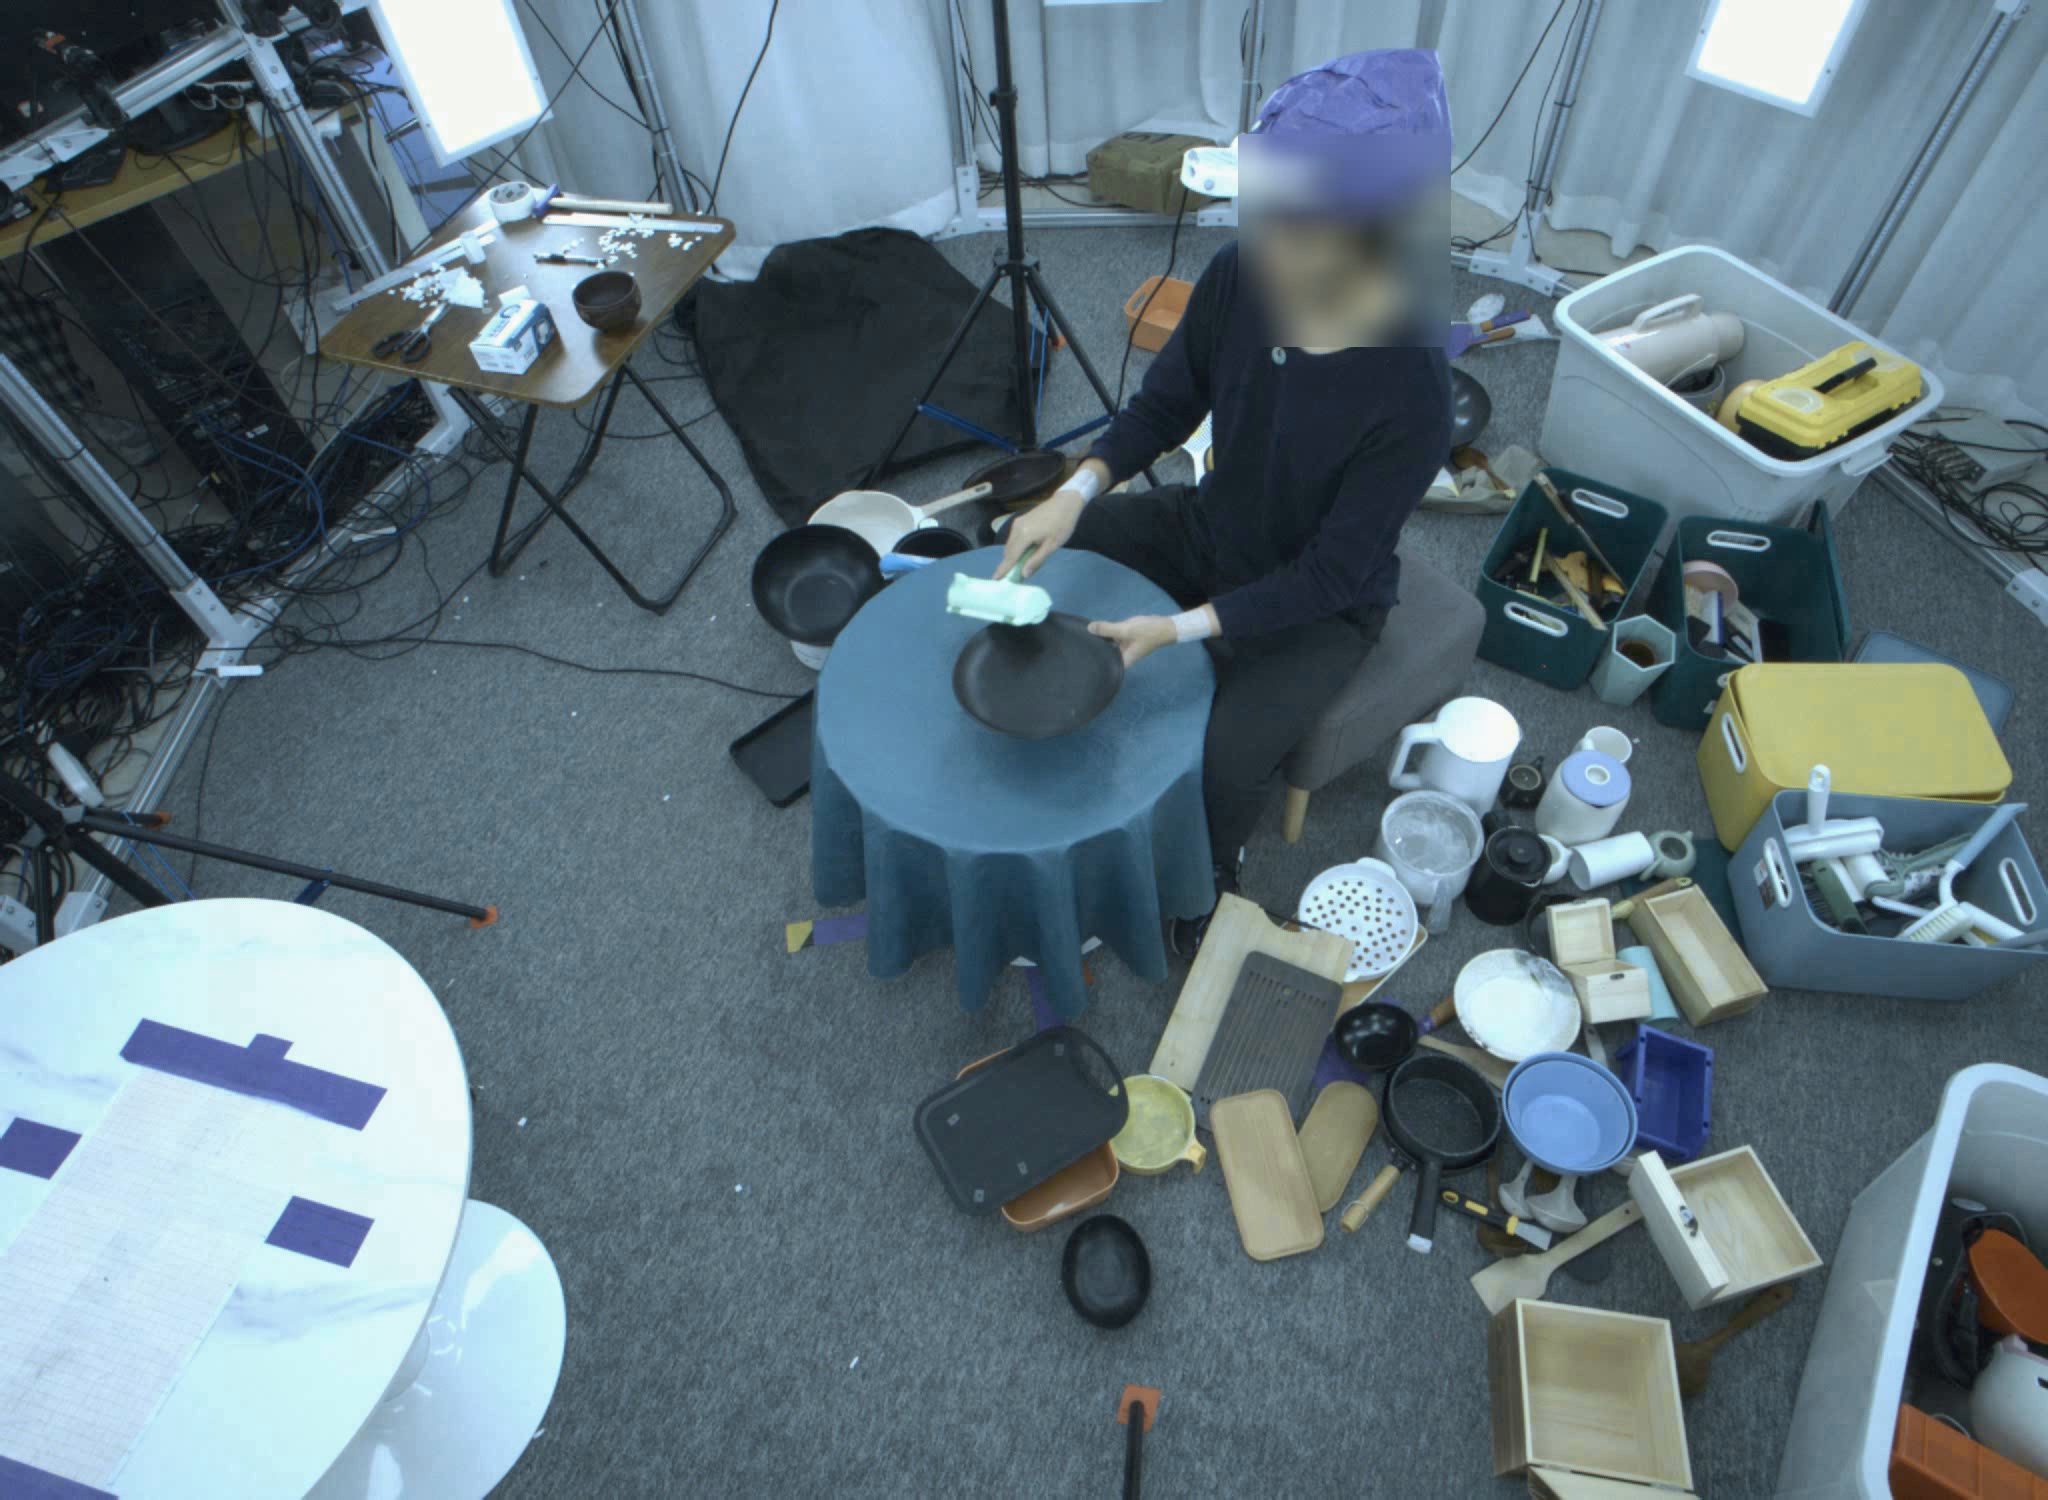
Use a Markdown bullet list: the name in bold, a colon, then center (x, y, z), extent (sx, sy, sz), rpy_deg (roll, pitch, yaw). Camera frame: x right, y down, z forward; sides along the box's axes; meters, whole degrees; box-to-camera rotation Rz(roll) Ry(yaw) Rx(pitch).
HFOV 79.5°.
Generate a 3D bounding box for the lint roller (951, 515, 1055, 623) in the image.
- **lint roller**: center (-0.020, -0.277, 1.803), extent (0.194, 0.084, 0.183), rpy_deg (16, 82, 50)

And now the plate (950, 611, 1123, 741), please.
- **plate**: center (0.018, -0.102, 1.731), extent (0.244, 0.024, 0.242), rpy_deg (-1, 52, 3)
